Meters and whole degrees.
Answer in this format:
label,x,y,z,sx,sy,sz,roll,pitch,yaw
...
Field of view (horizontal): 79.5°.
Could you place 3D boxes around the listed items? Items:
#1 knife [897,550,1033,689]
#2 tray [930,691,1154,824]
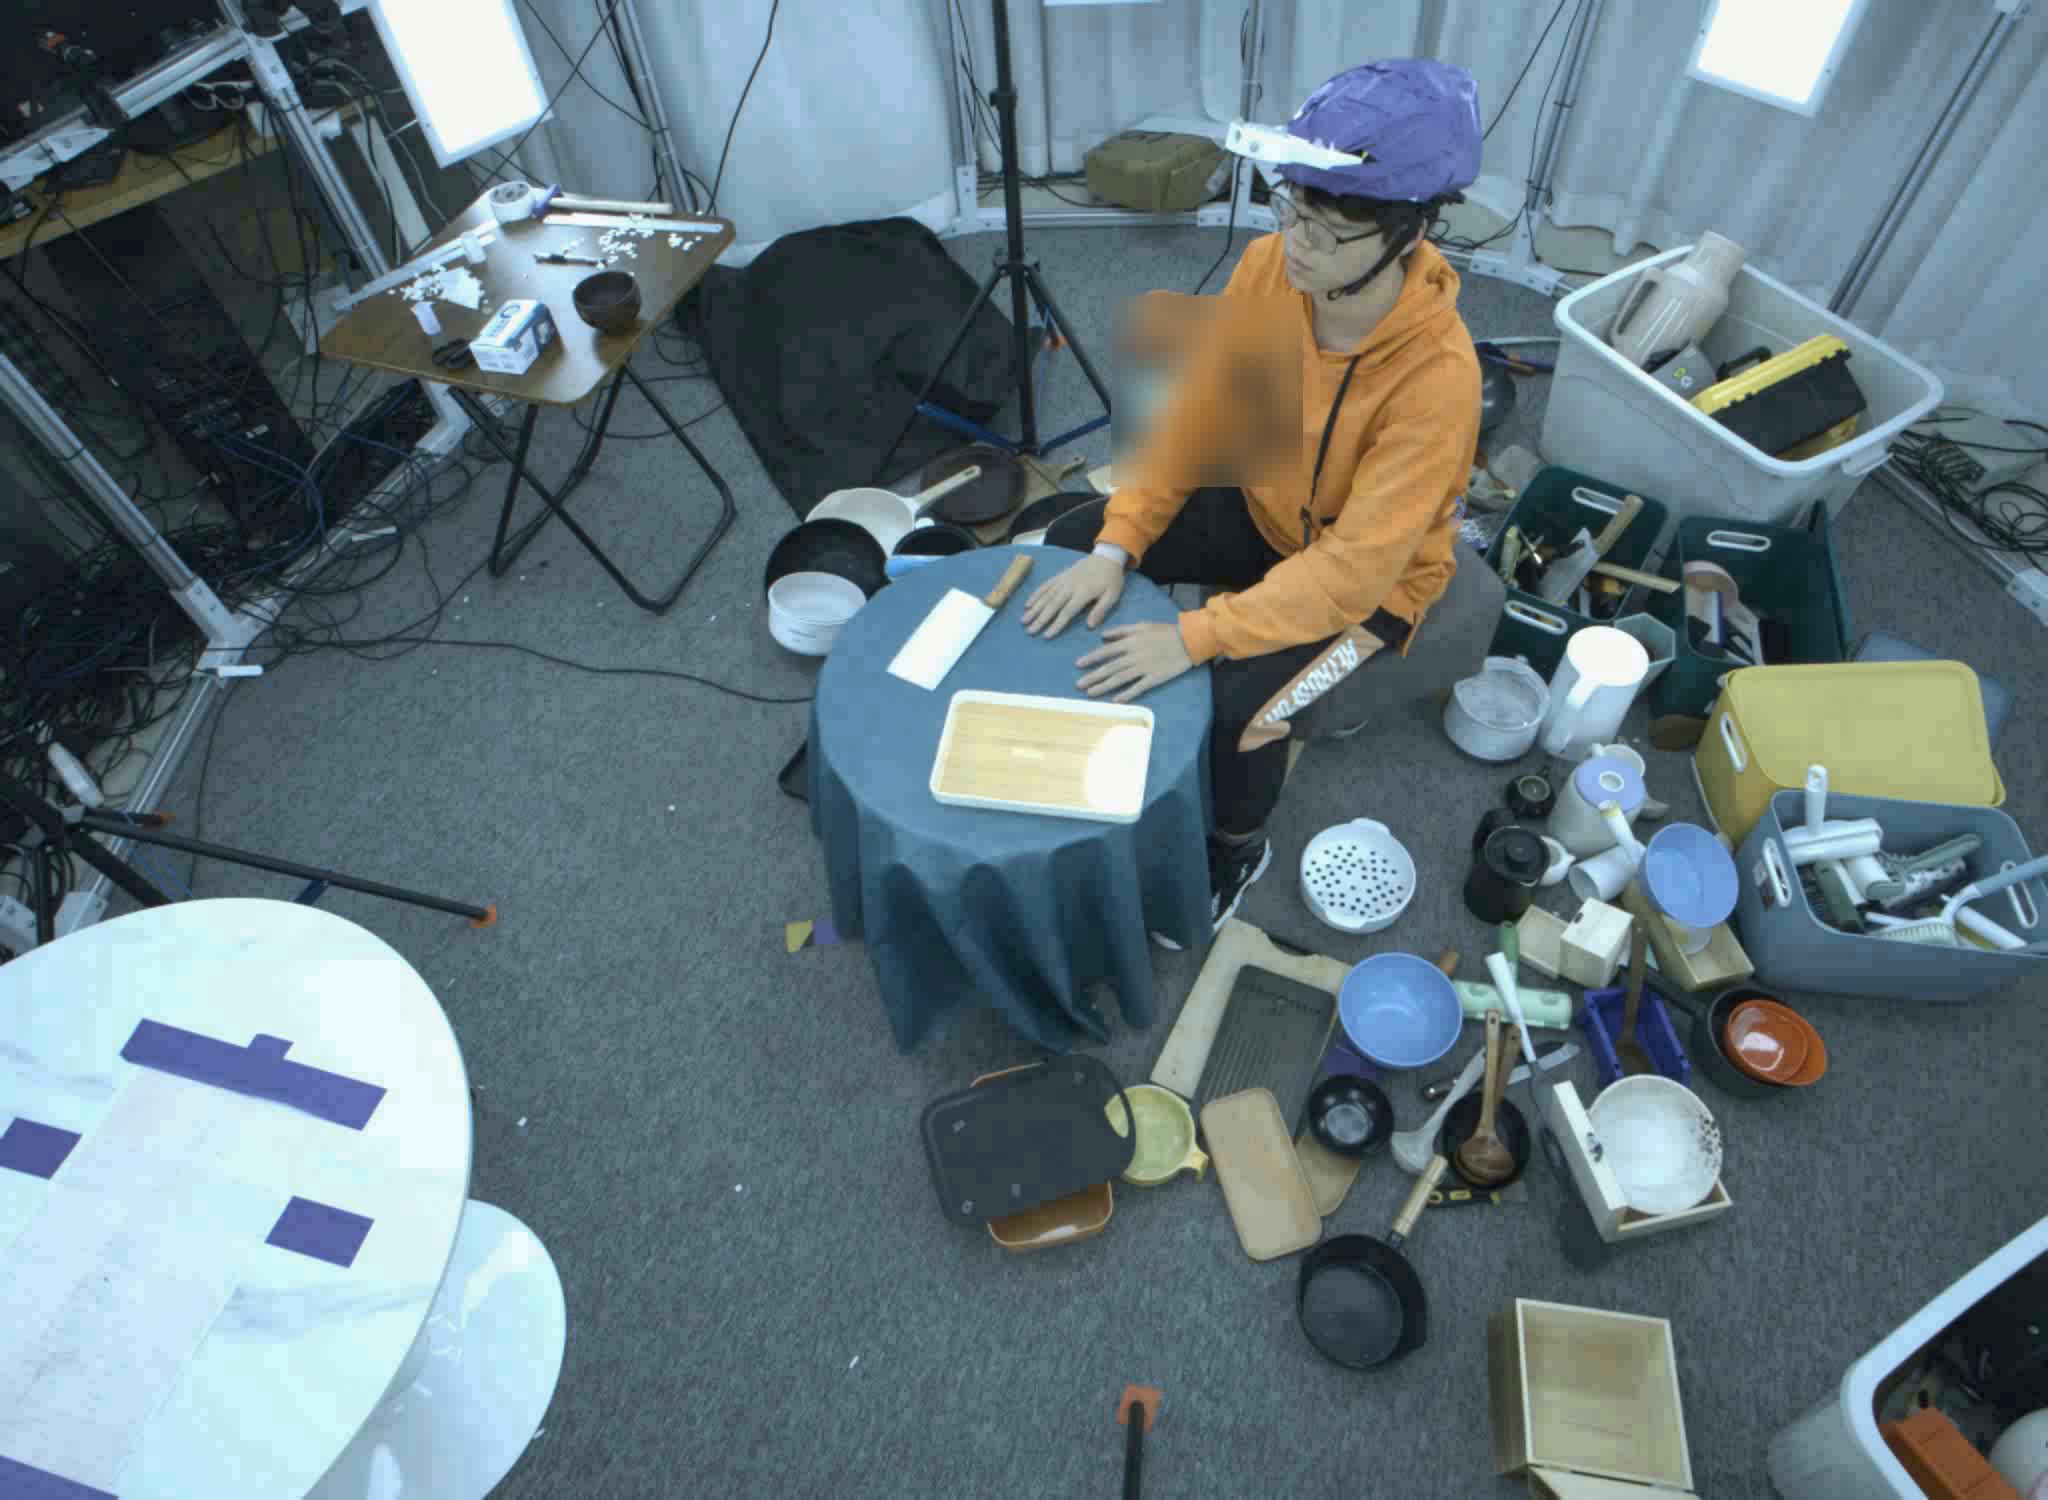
label,x,y,z,sx,sy,sz,roll,pitch,yaw
knife,-0.095,-0.216,1.934,0.091,0.021,0.306,25,62,20
tray,0.028,0.007,1.764,0.299,0.028,0.190,6,55,7
